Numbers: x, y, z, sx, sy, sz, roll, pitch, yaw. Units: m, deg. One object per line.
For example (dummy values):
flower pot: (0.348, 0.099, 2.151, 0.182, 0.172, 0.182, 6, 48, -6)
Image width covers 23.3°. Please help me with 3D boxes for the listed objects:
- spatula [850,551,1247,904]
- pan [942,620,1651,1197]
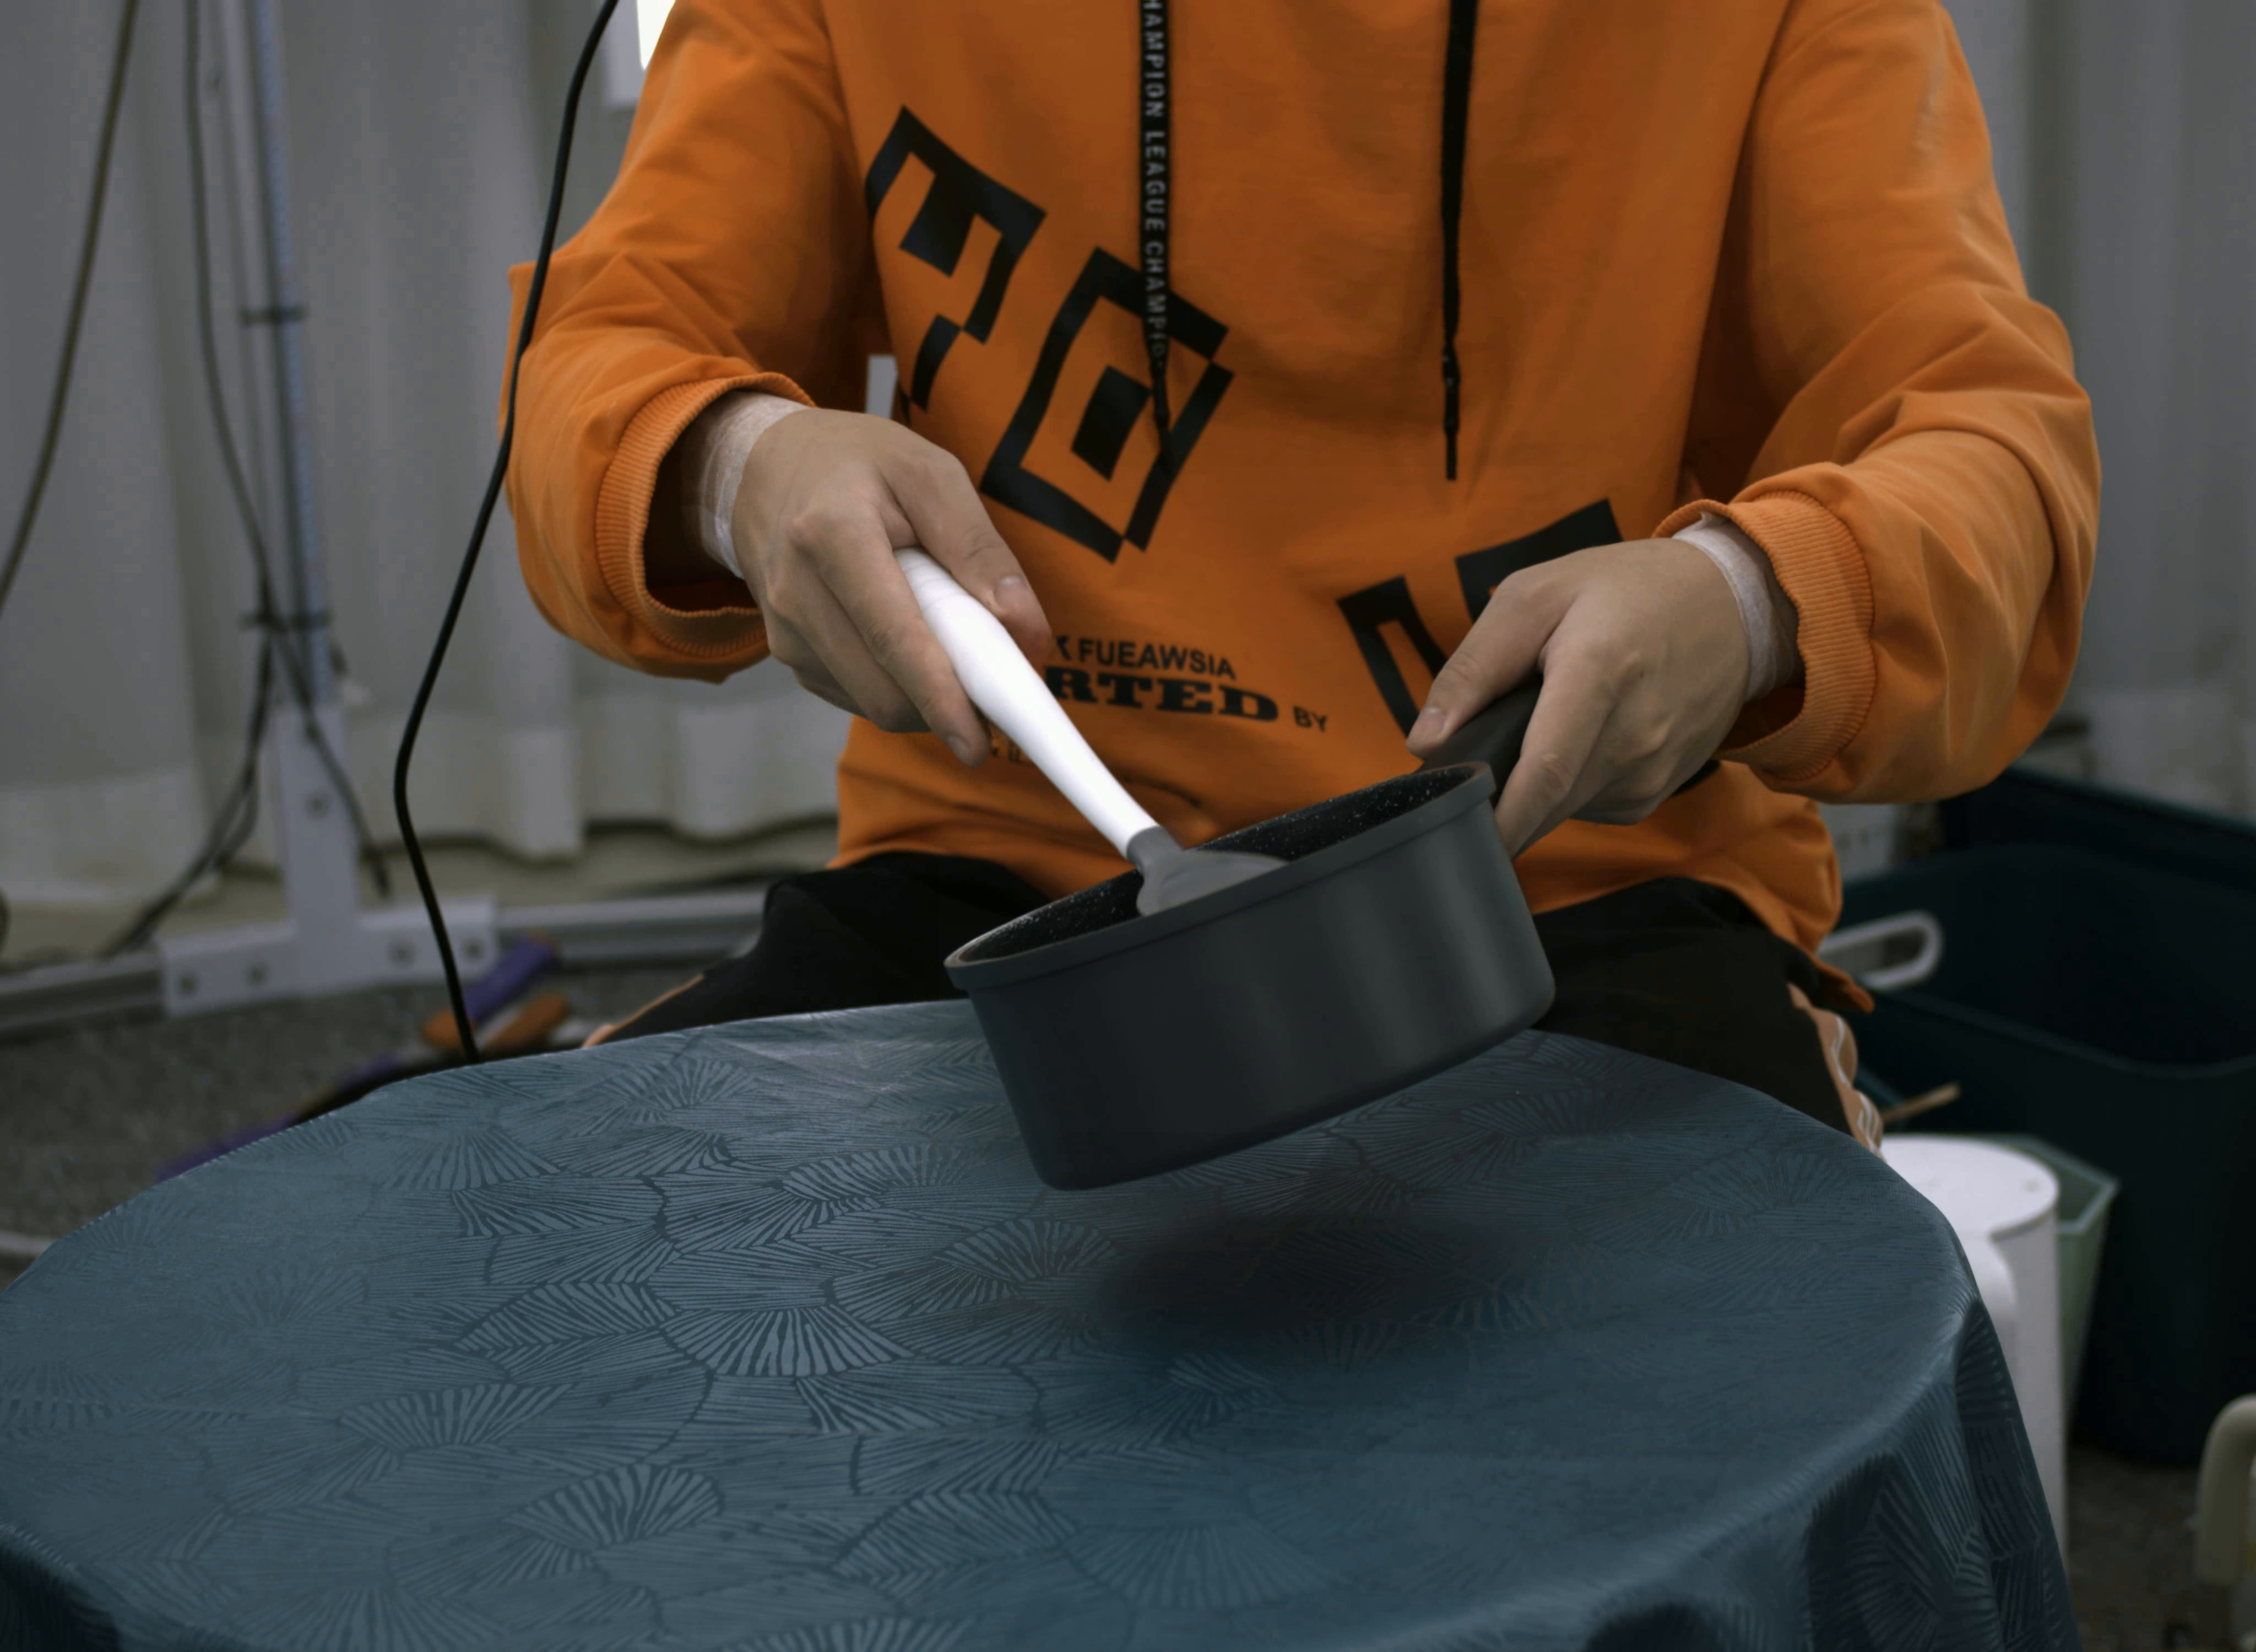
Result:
spatula: (-0.012, -0.016, 1.698, 0.058, 0.032, 0.291, -13, 31, -24)
pan: (0.080, 0.021, 1.672, 0.172, 0.086, 0.329, -16, 7, 37)
